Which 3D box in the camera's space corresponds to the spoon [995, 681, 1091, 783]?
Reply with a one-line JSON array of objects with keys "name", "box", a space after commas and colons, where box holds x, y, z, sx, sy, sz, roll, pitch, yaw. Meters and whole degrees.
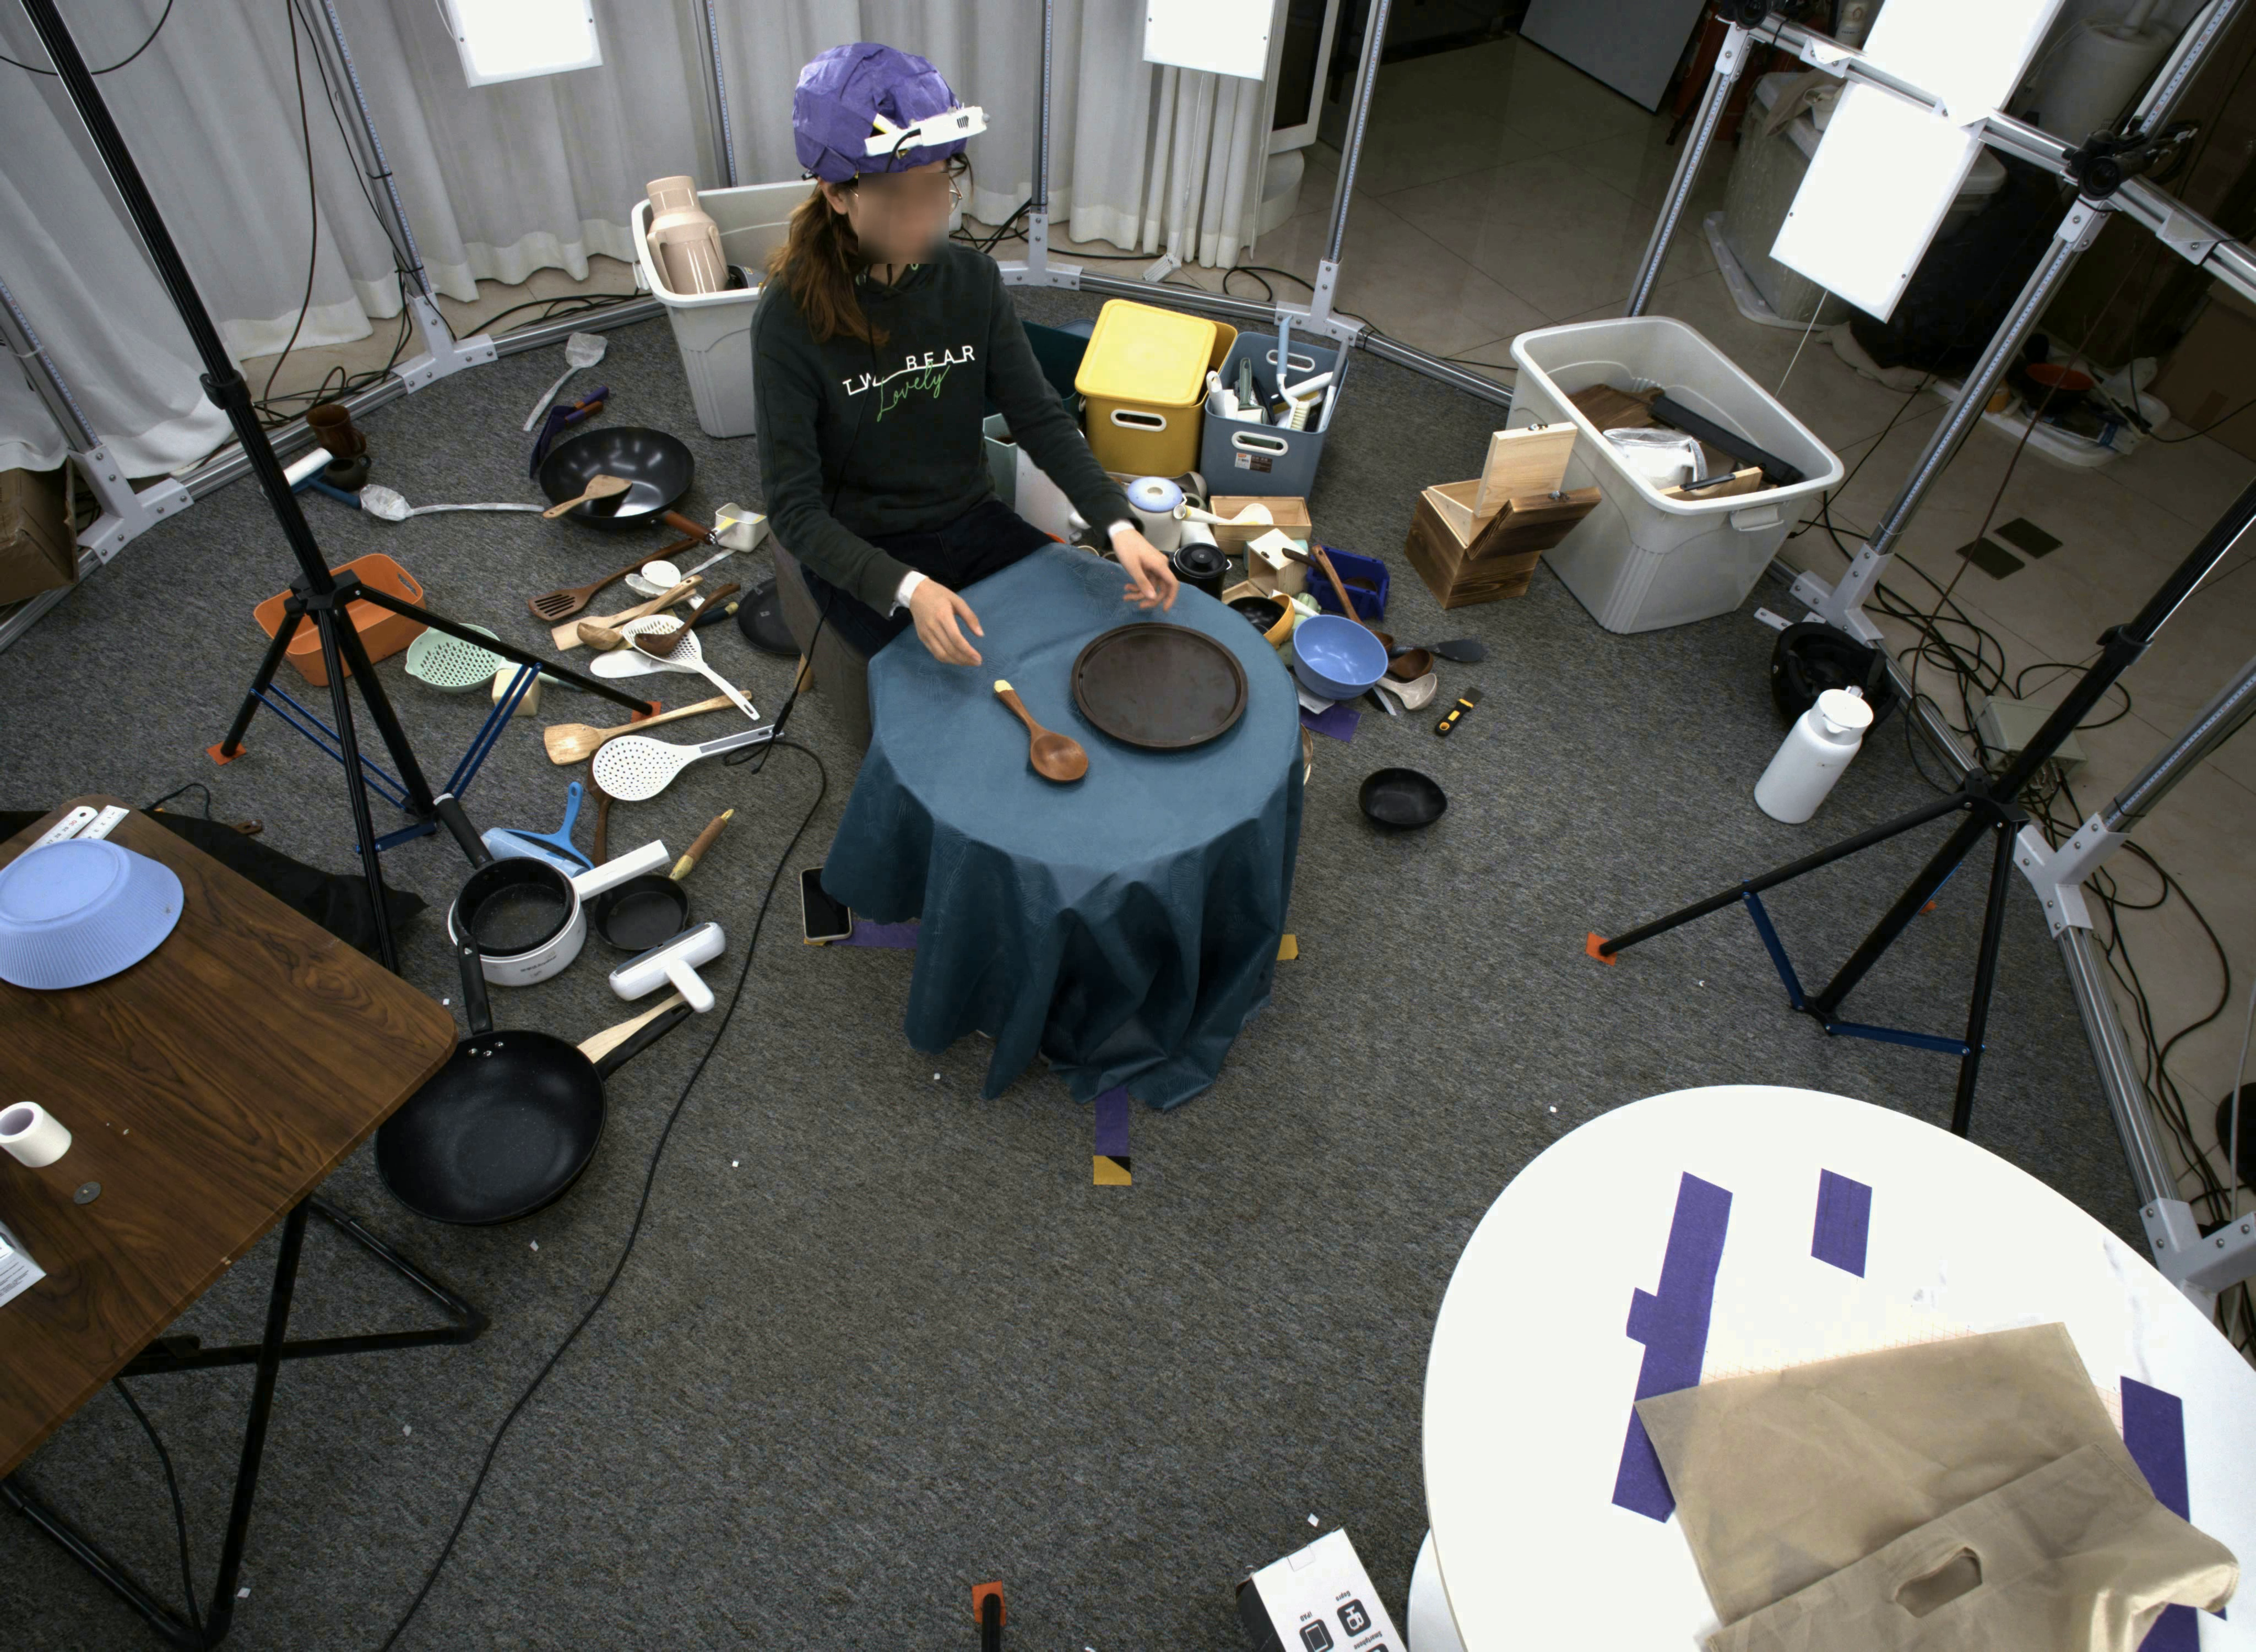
[{"name": "spoon", "box": [-0.125, -0.132, 1.779, 0.076, 0.017, 0.220, -24, 54, -22]}]

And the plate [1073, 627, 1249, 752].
[{"name": "plate", "box": [0.047, -0.198, 1.846, 0.254, 0.028, 0.261, 3, 49, -3]}]
